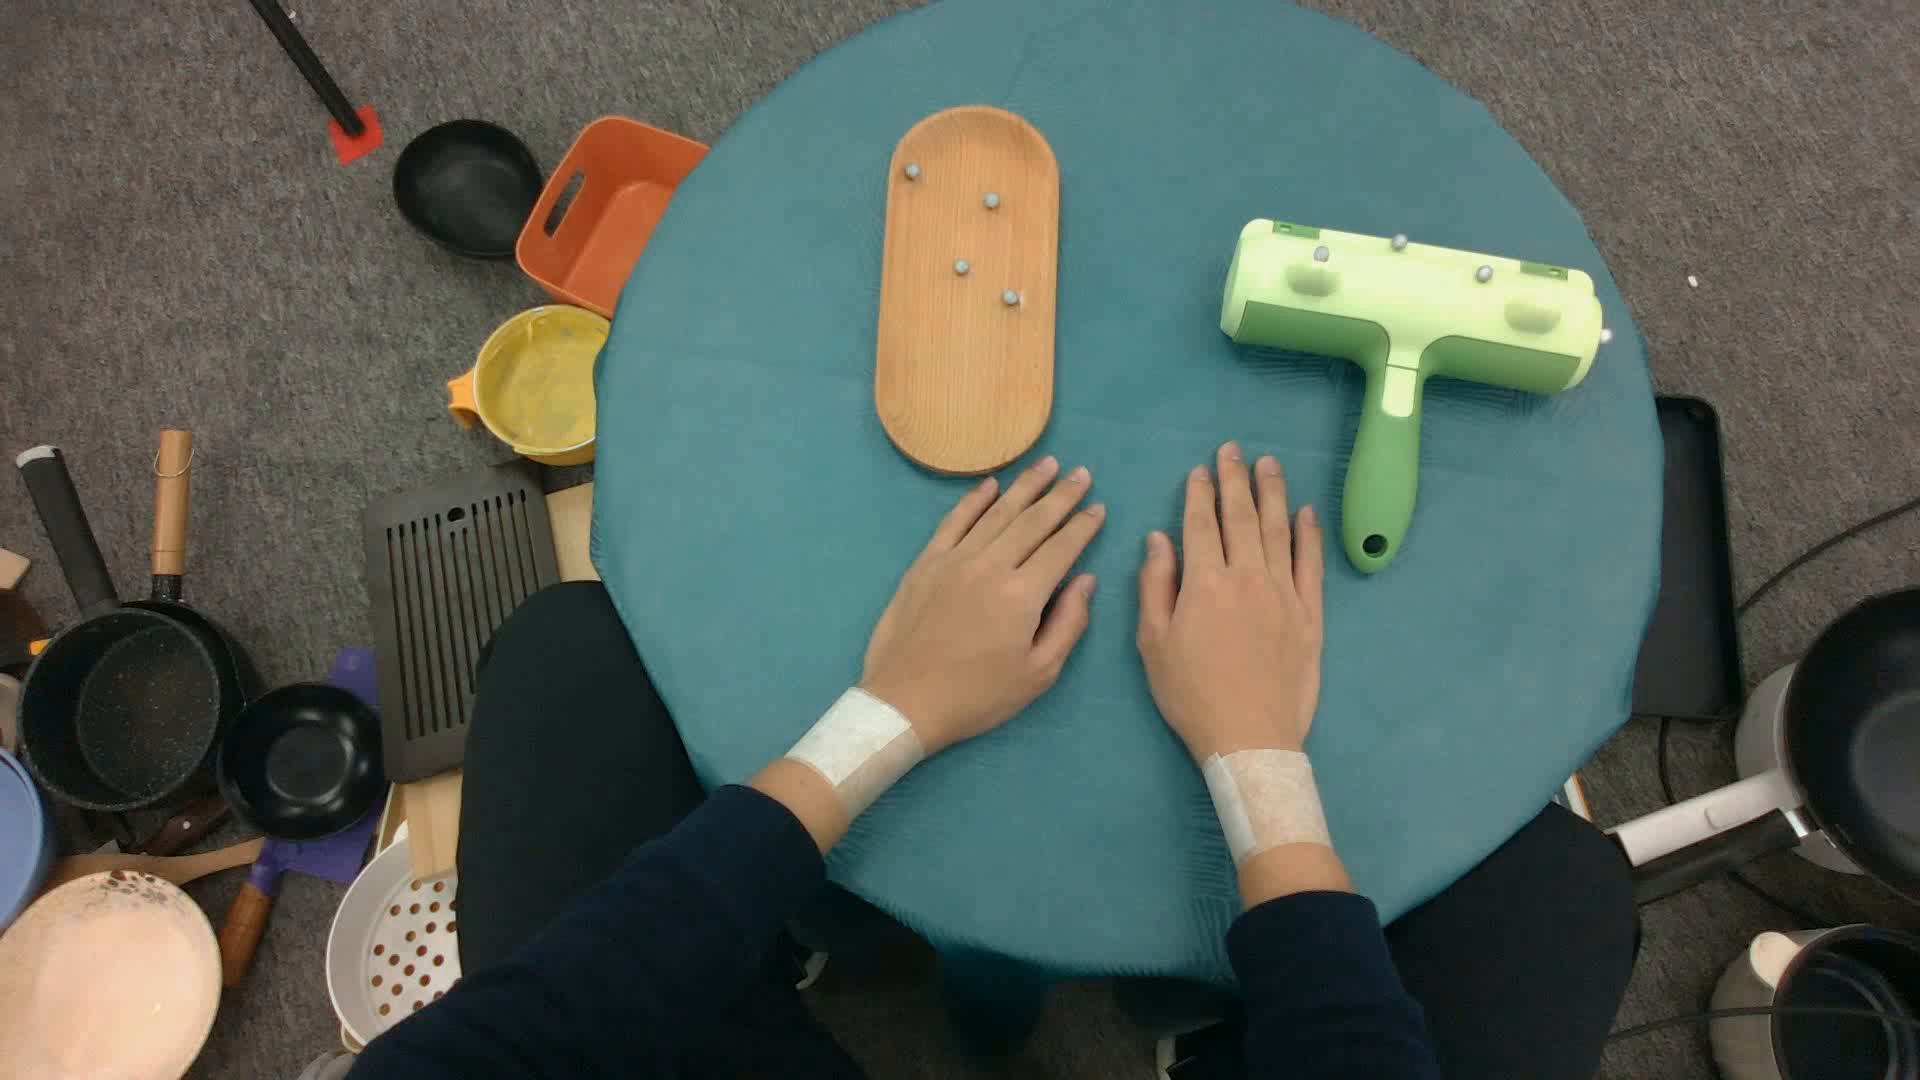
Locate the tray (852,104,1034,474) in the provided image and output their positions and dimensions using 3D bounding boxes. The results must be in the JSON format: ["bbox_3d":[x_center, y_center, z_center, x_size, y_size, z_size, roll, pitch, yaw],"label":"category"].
[{"bbox_3d":[-0.009,-0.147,0.789,0.101,0.020,0.232,0,74,0],"label":"tray"}]

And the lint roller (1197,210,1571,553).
[{"bbox_3d":[0.225,-0.089,0.736,0.198,0.082,0.184,8,67,3],"label":"lint roller"}]
